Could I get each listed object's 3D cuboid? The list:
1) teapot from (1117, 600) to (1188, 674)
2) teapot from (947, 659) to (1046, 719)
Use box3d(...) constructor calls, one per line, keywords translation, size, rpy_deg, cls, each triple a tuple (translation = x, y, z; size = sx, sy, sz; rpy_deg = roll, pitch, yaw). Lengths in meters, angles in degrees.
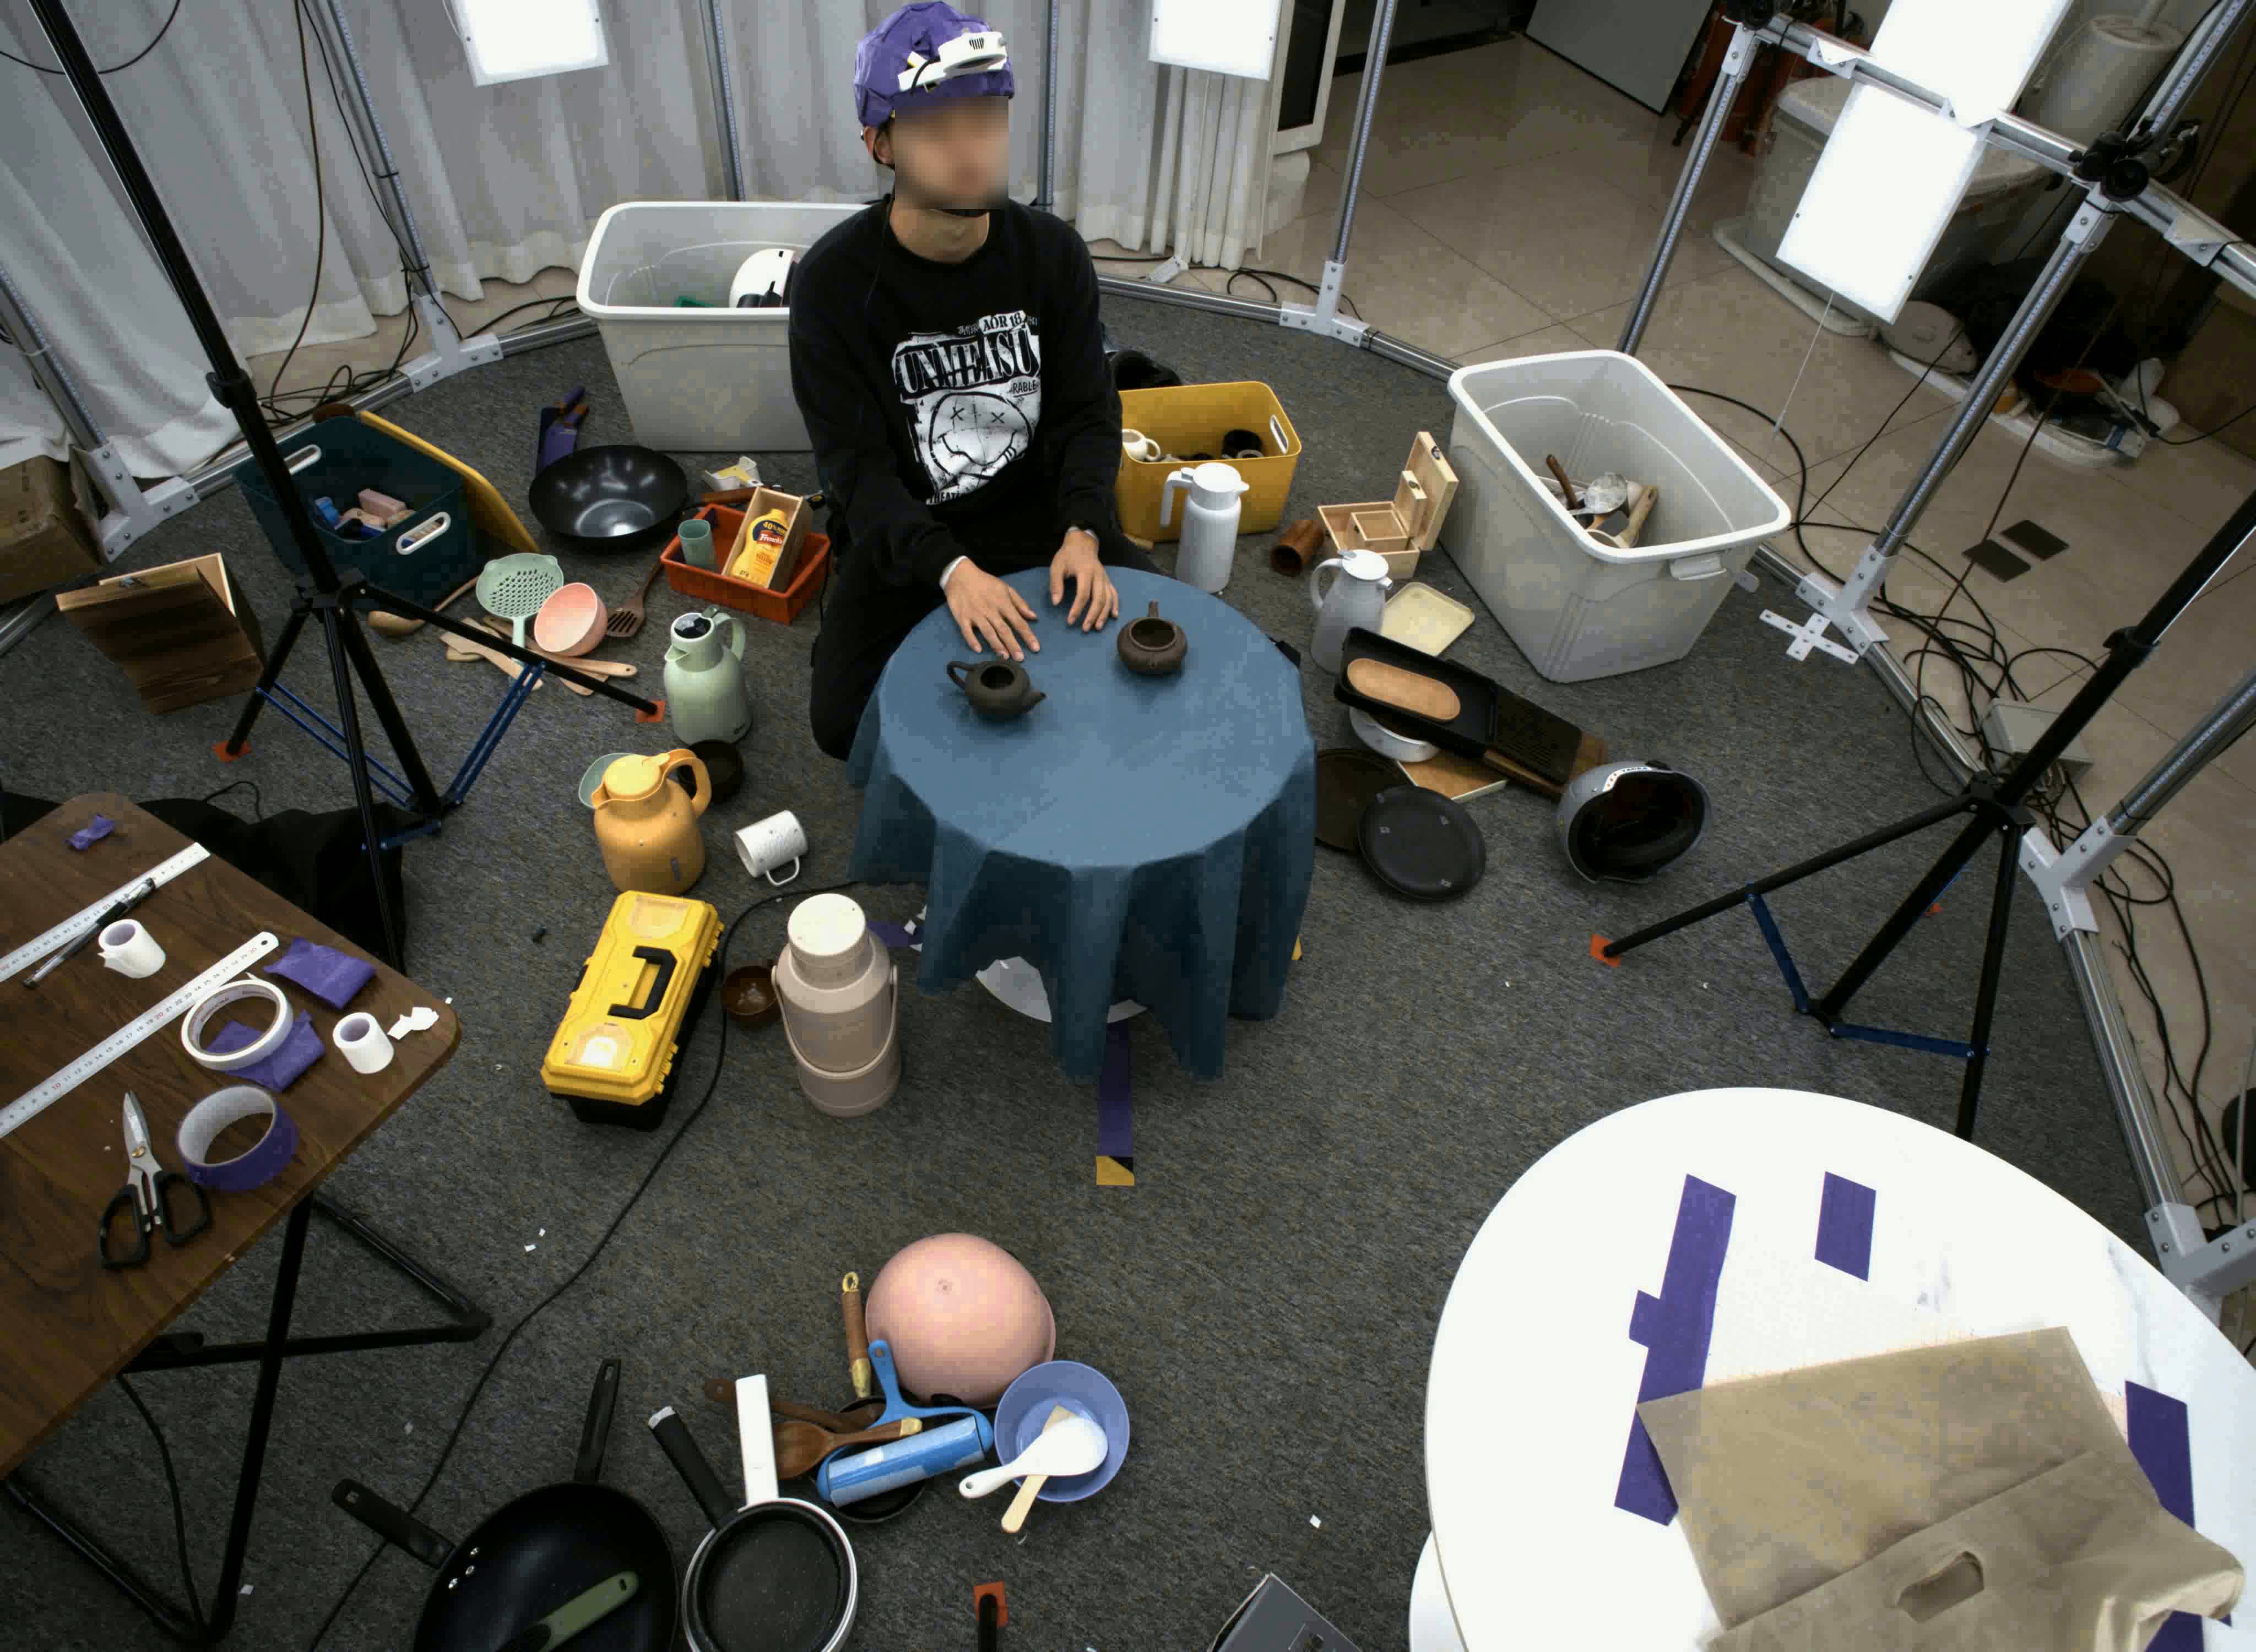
box3d(translation=(0.035, -0.269, 1.869), size=(0.102, 0.052, 0.157), rpy_deg=(0, 50, -6), cls="teapot")
box3d(translation=(-0.183, -0.191, 1.783), size=(0.155, 0.063, 0.094), rpy_deg=(22, 50, 15), cls="teapot")
